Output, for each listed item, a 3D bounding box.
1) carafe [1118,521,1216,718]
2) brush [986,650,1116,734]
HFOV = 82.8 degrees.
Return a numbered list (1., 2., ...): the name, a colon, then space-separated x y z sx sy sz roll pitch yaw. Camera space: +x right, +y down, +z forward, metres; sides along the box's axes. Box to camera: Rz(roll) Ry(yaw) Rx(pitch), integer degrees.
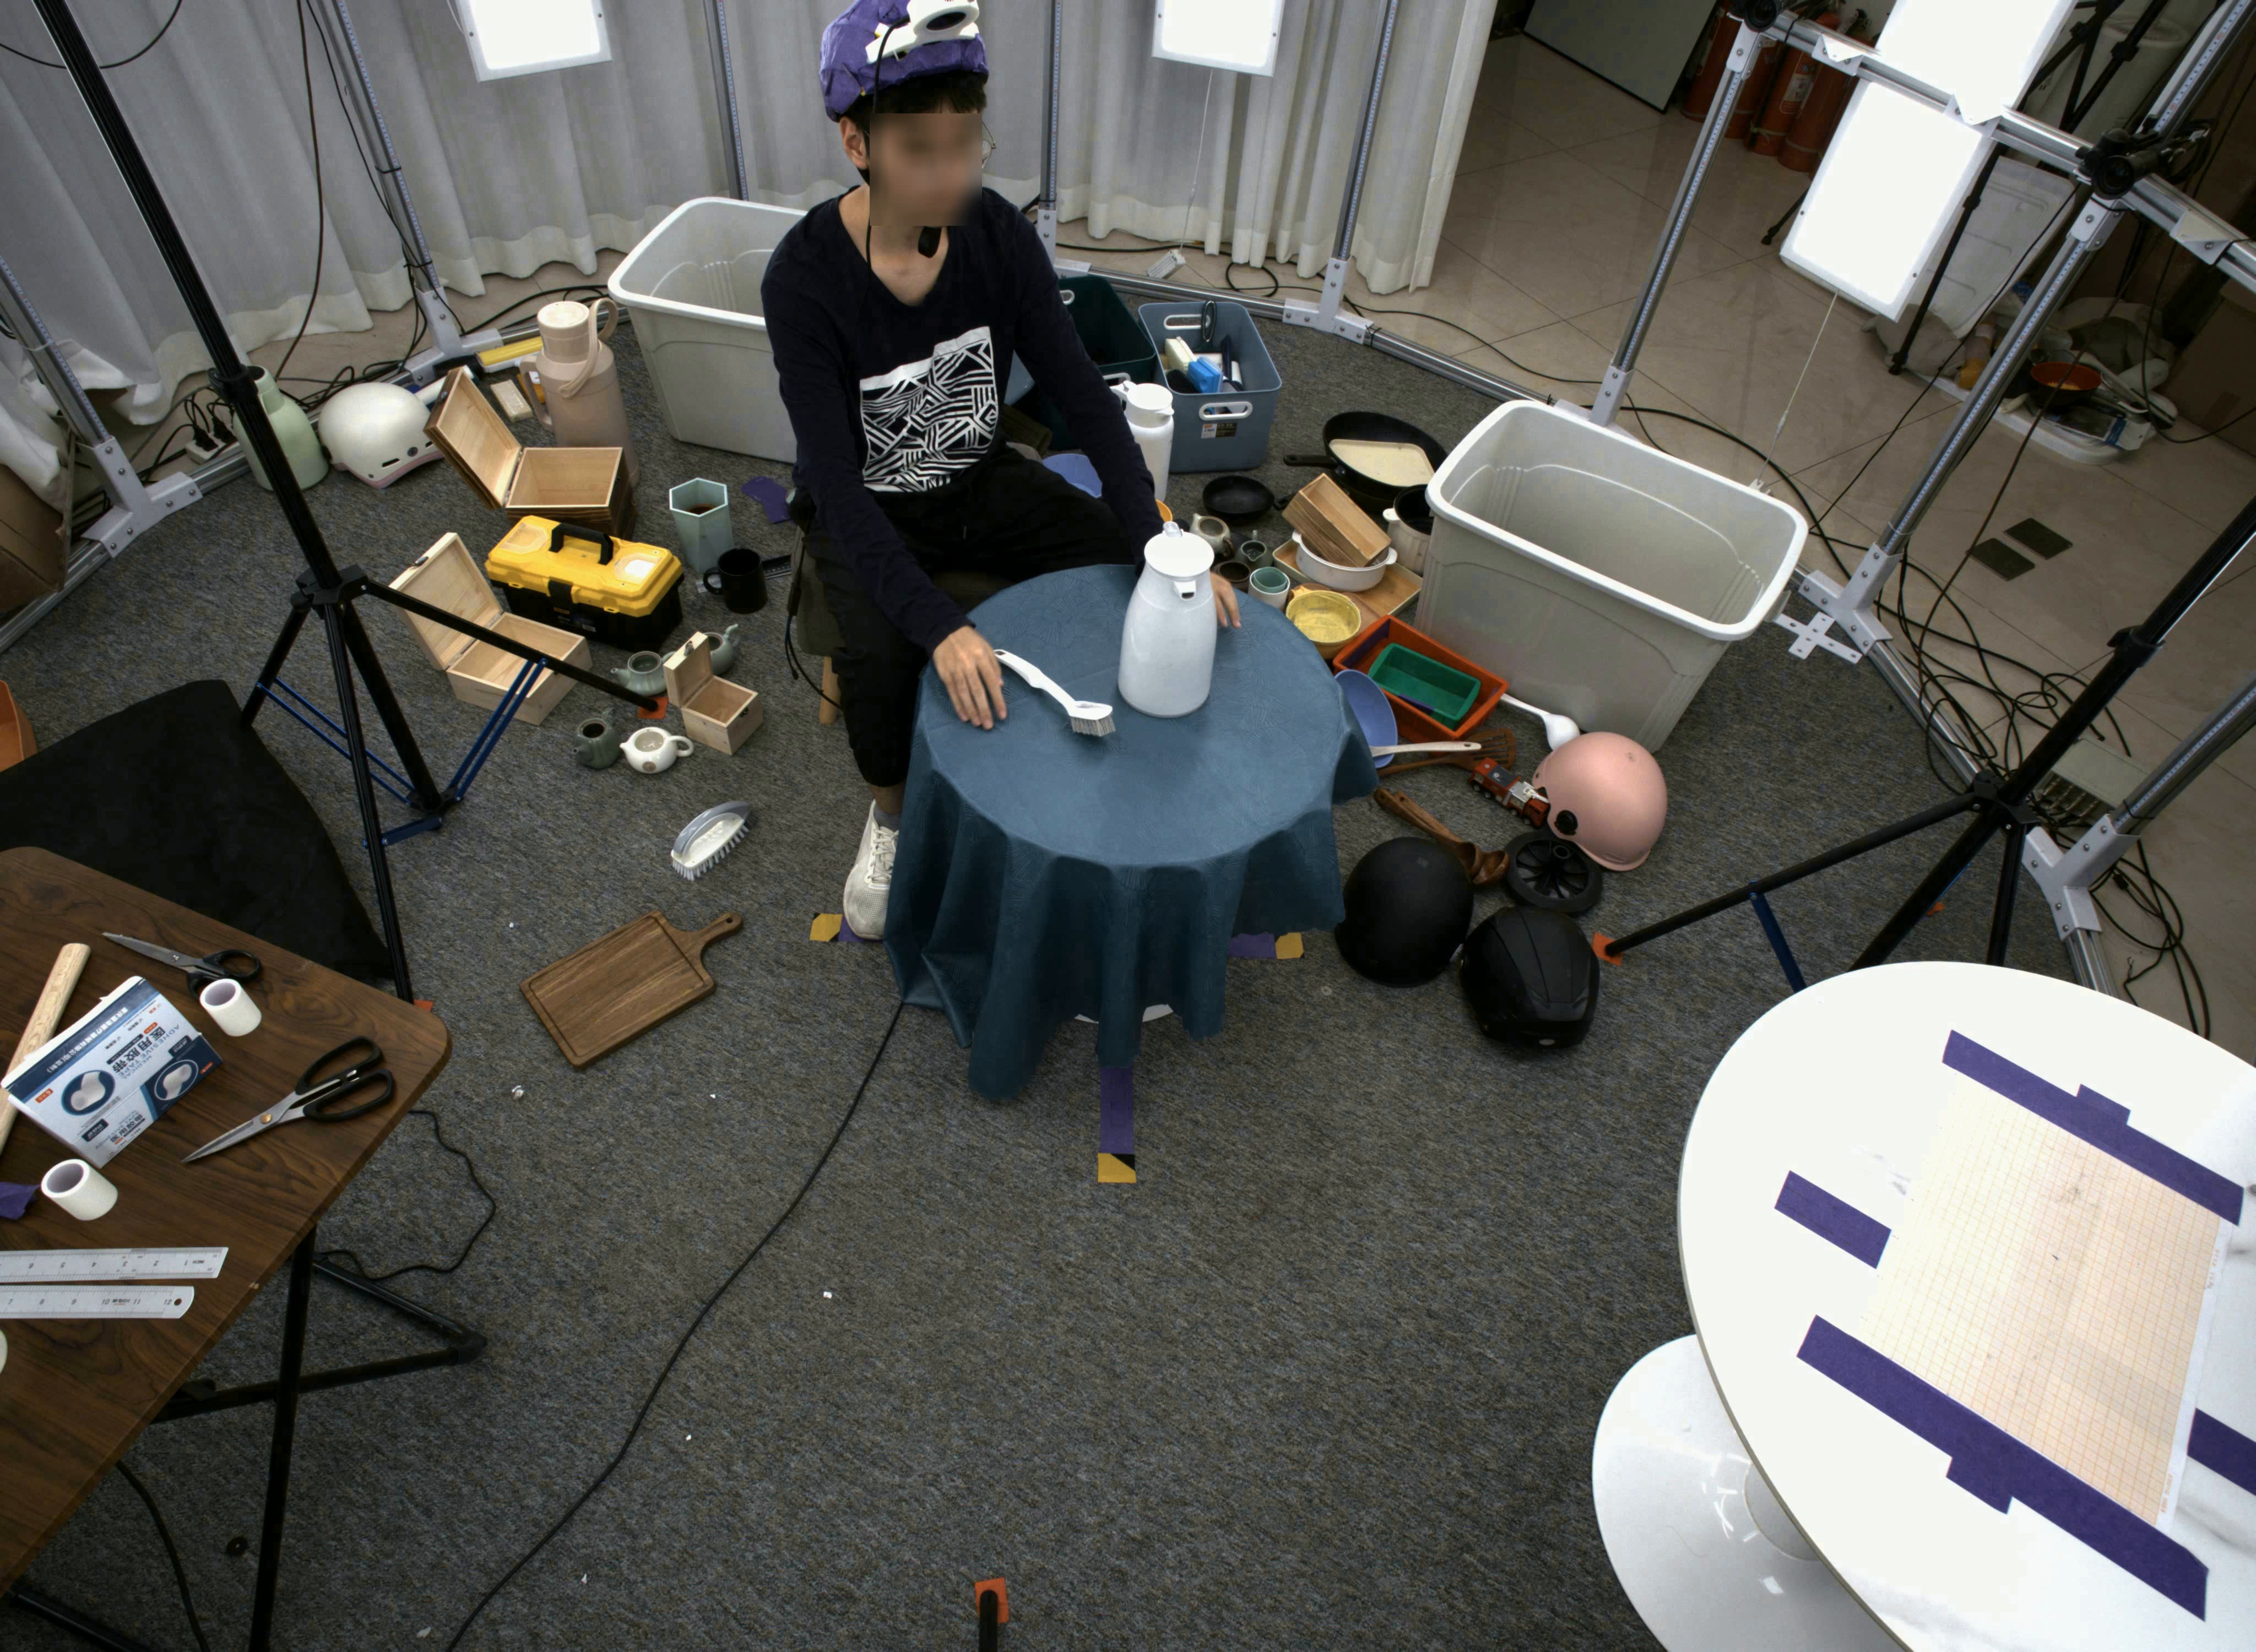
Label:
1. carafe: 0.052 -0.295 1.767 0.132 0.242 0.172 -8 49 -10
2. brush: -0.112 -0.186 1.801 0.247 0.049 0.034 29 45 34
